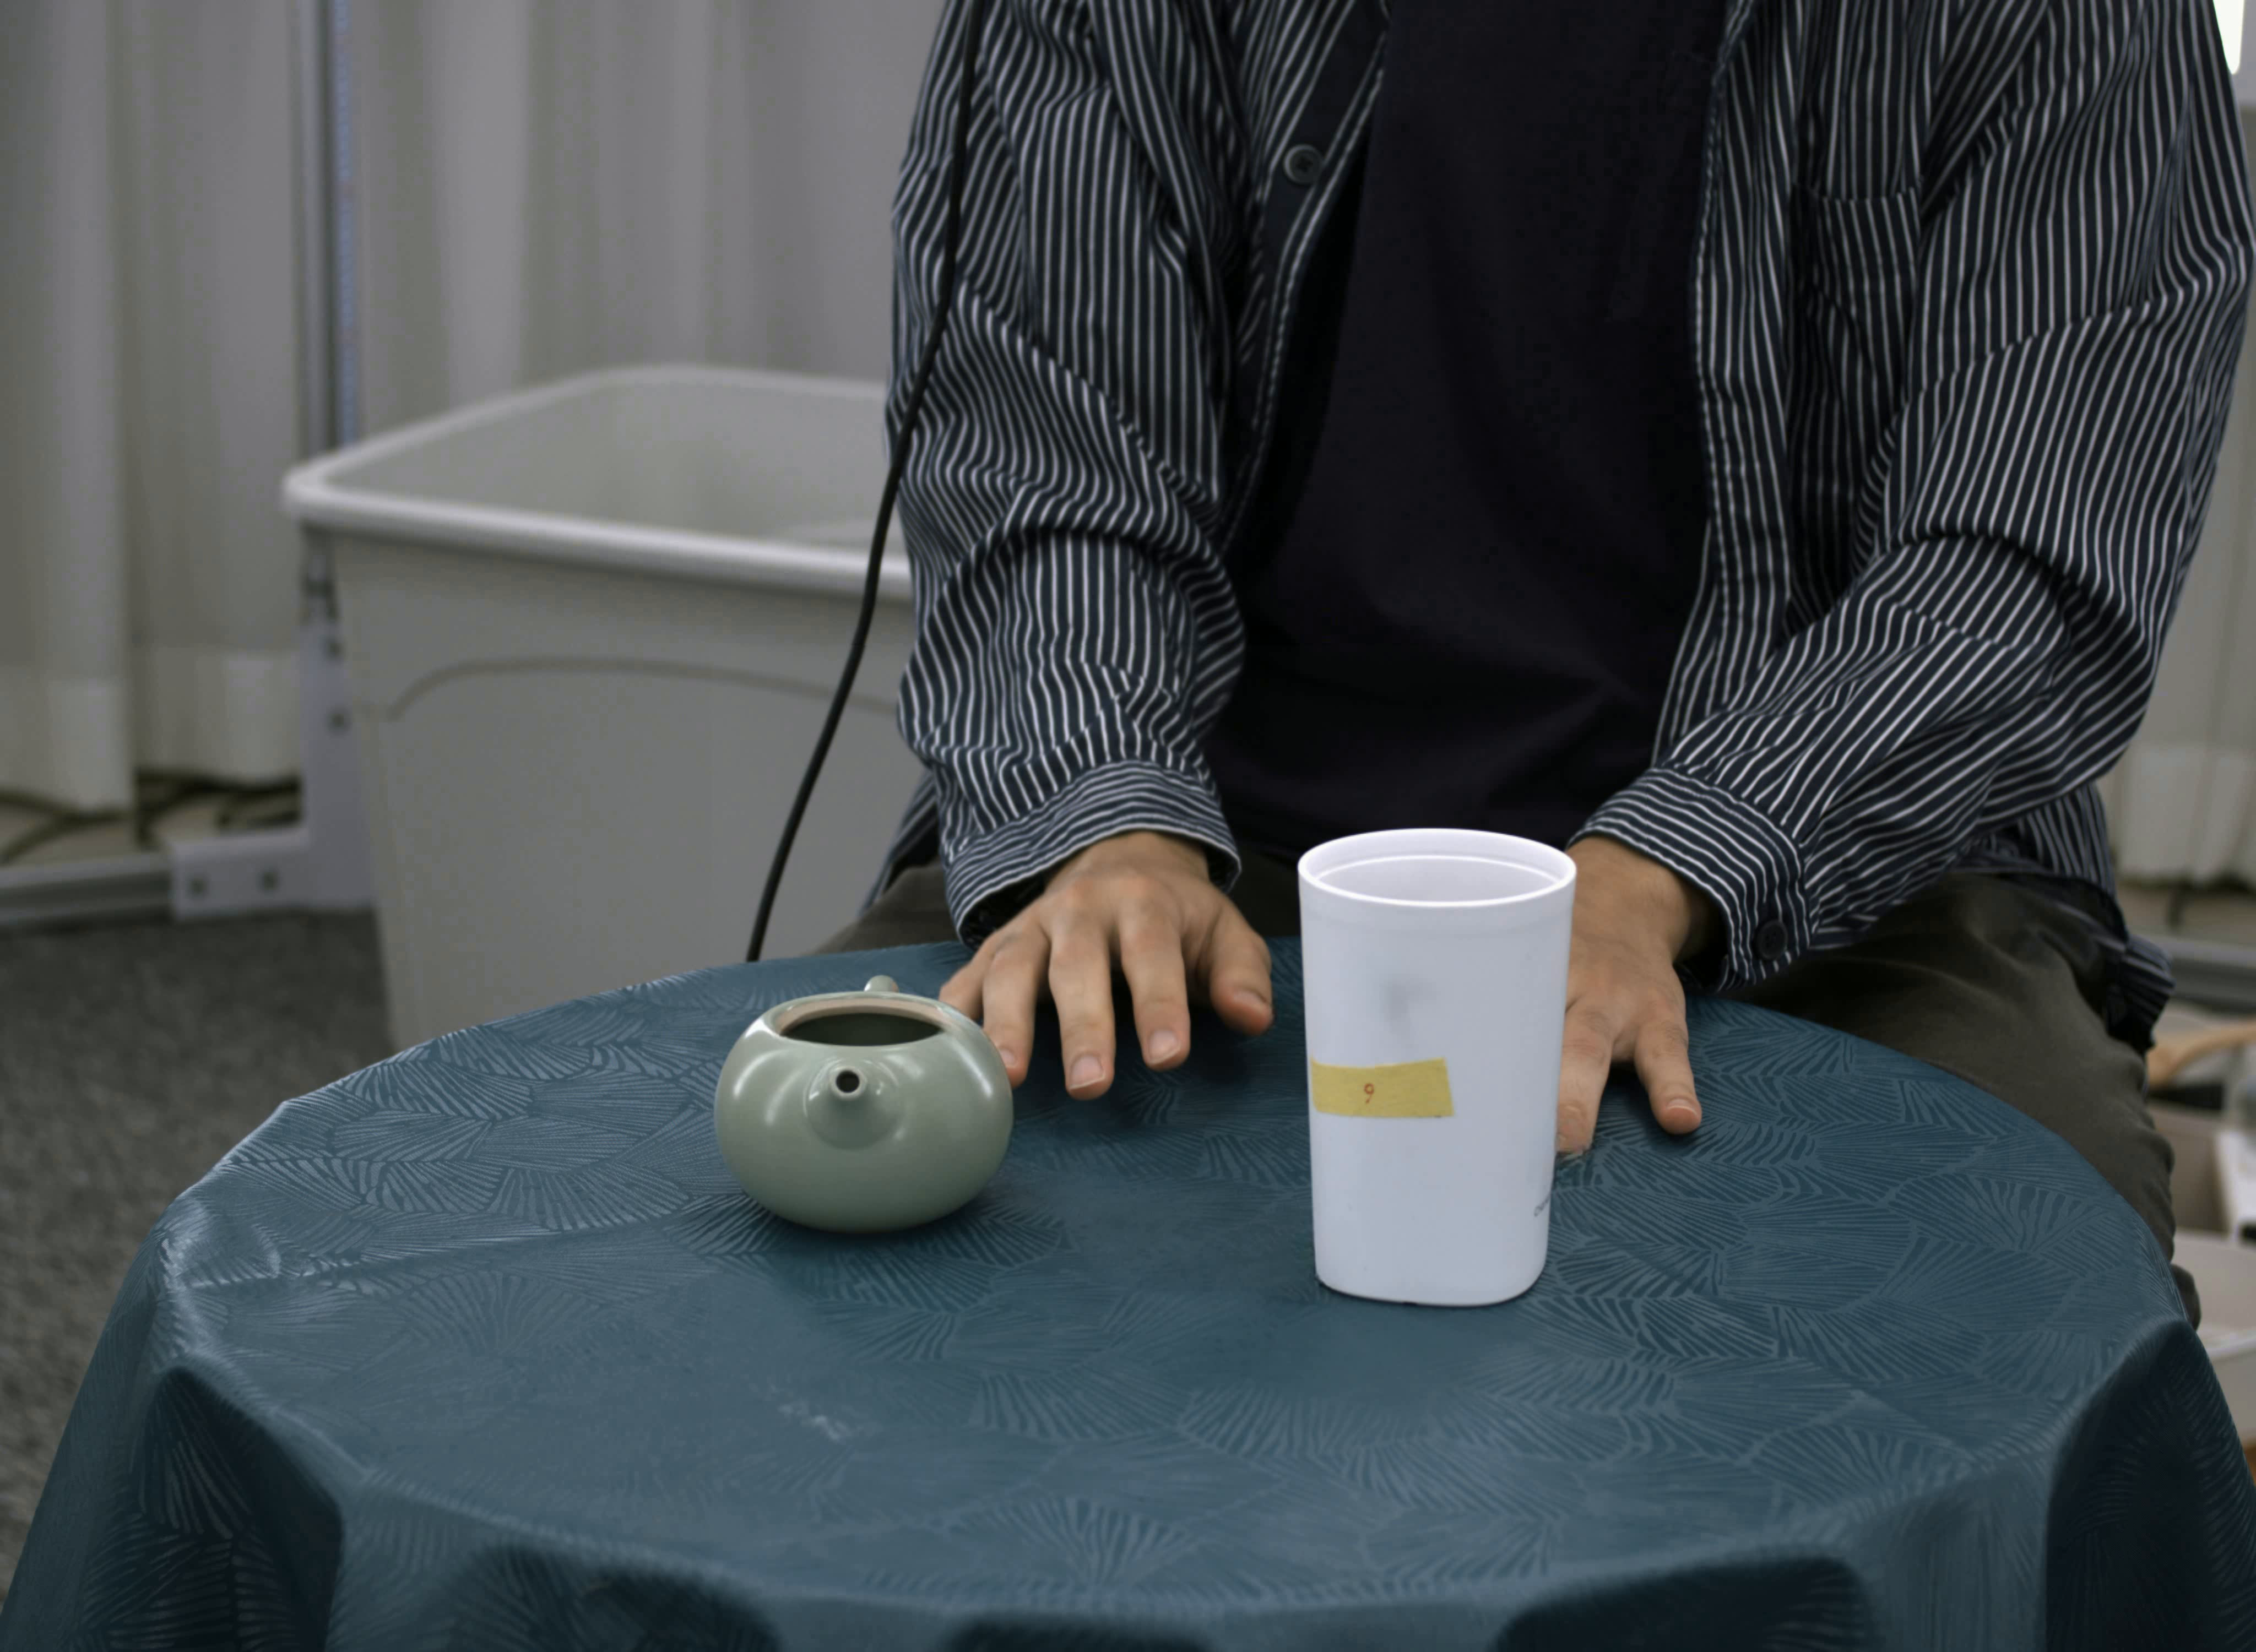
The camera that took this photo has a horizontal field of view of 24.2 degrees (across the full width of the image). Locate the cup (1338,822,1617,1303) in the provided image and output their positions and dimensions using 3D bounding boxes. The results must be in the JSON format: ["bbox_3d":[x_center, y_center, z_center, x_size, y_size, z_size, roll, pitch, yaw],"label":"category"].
[{"bbox_3d":[0.101,0.070,1.541,0.081,0.126,0.081,0,16,0],"label":"cup"}]

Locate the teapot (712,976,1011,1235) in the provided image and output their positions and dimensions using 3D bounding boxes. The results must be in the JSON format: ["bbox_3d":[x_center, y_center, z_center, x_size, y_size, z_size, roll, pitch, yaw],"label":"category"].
[{"bbox_3d":[-0.080,0.085,1.616,0.091,0.061,0.128,1,15,8],"label":"teapot"}]
